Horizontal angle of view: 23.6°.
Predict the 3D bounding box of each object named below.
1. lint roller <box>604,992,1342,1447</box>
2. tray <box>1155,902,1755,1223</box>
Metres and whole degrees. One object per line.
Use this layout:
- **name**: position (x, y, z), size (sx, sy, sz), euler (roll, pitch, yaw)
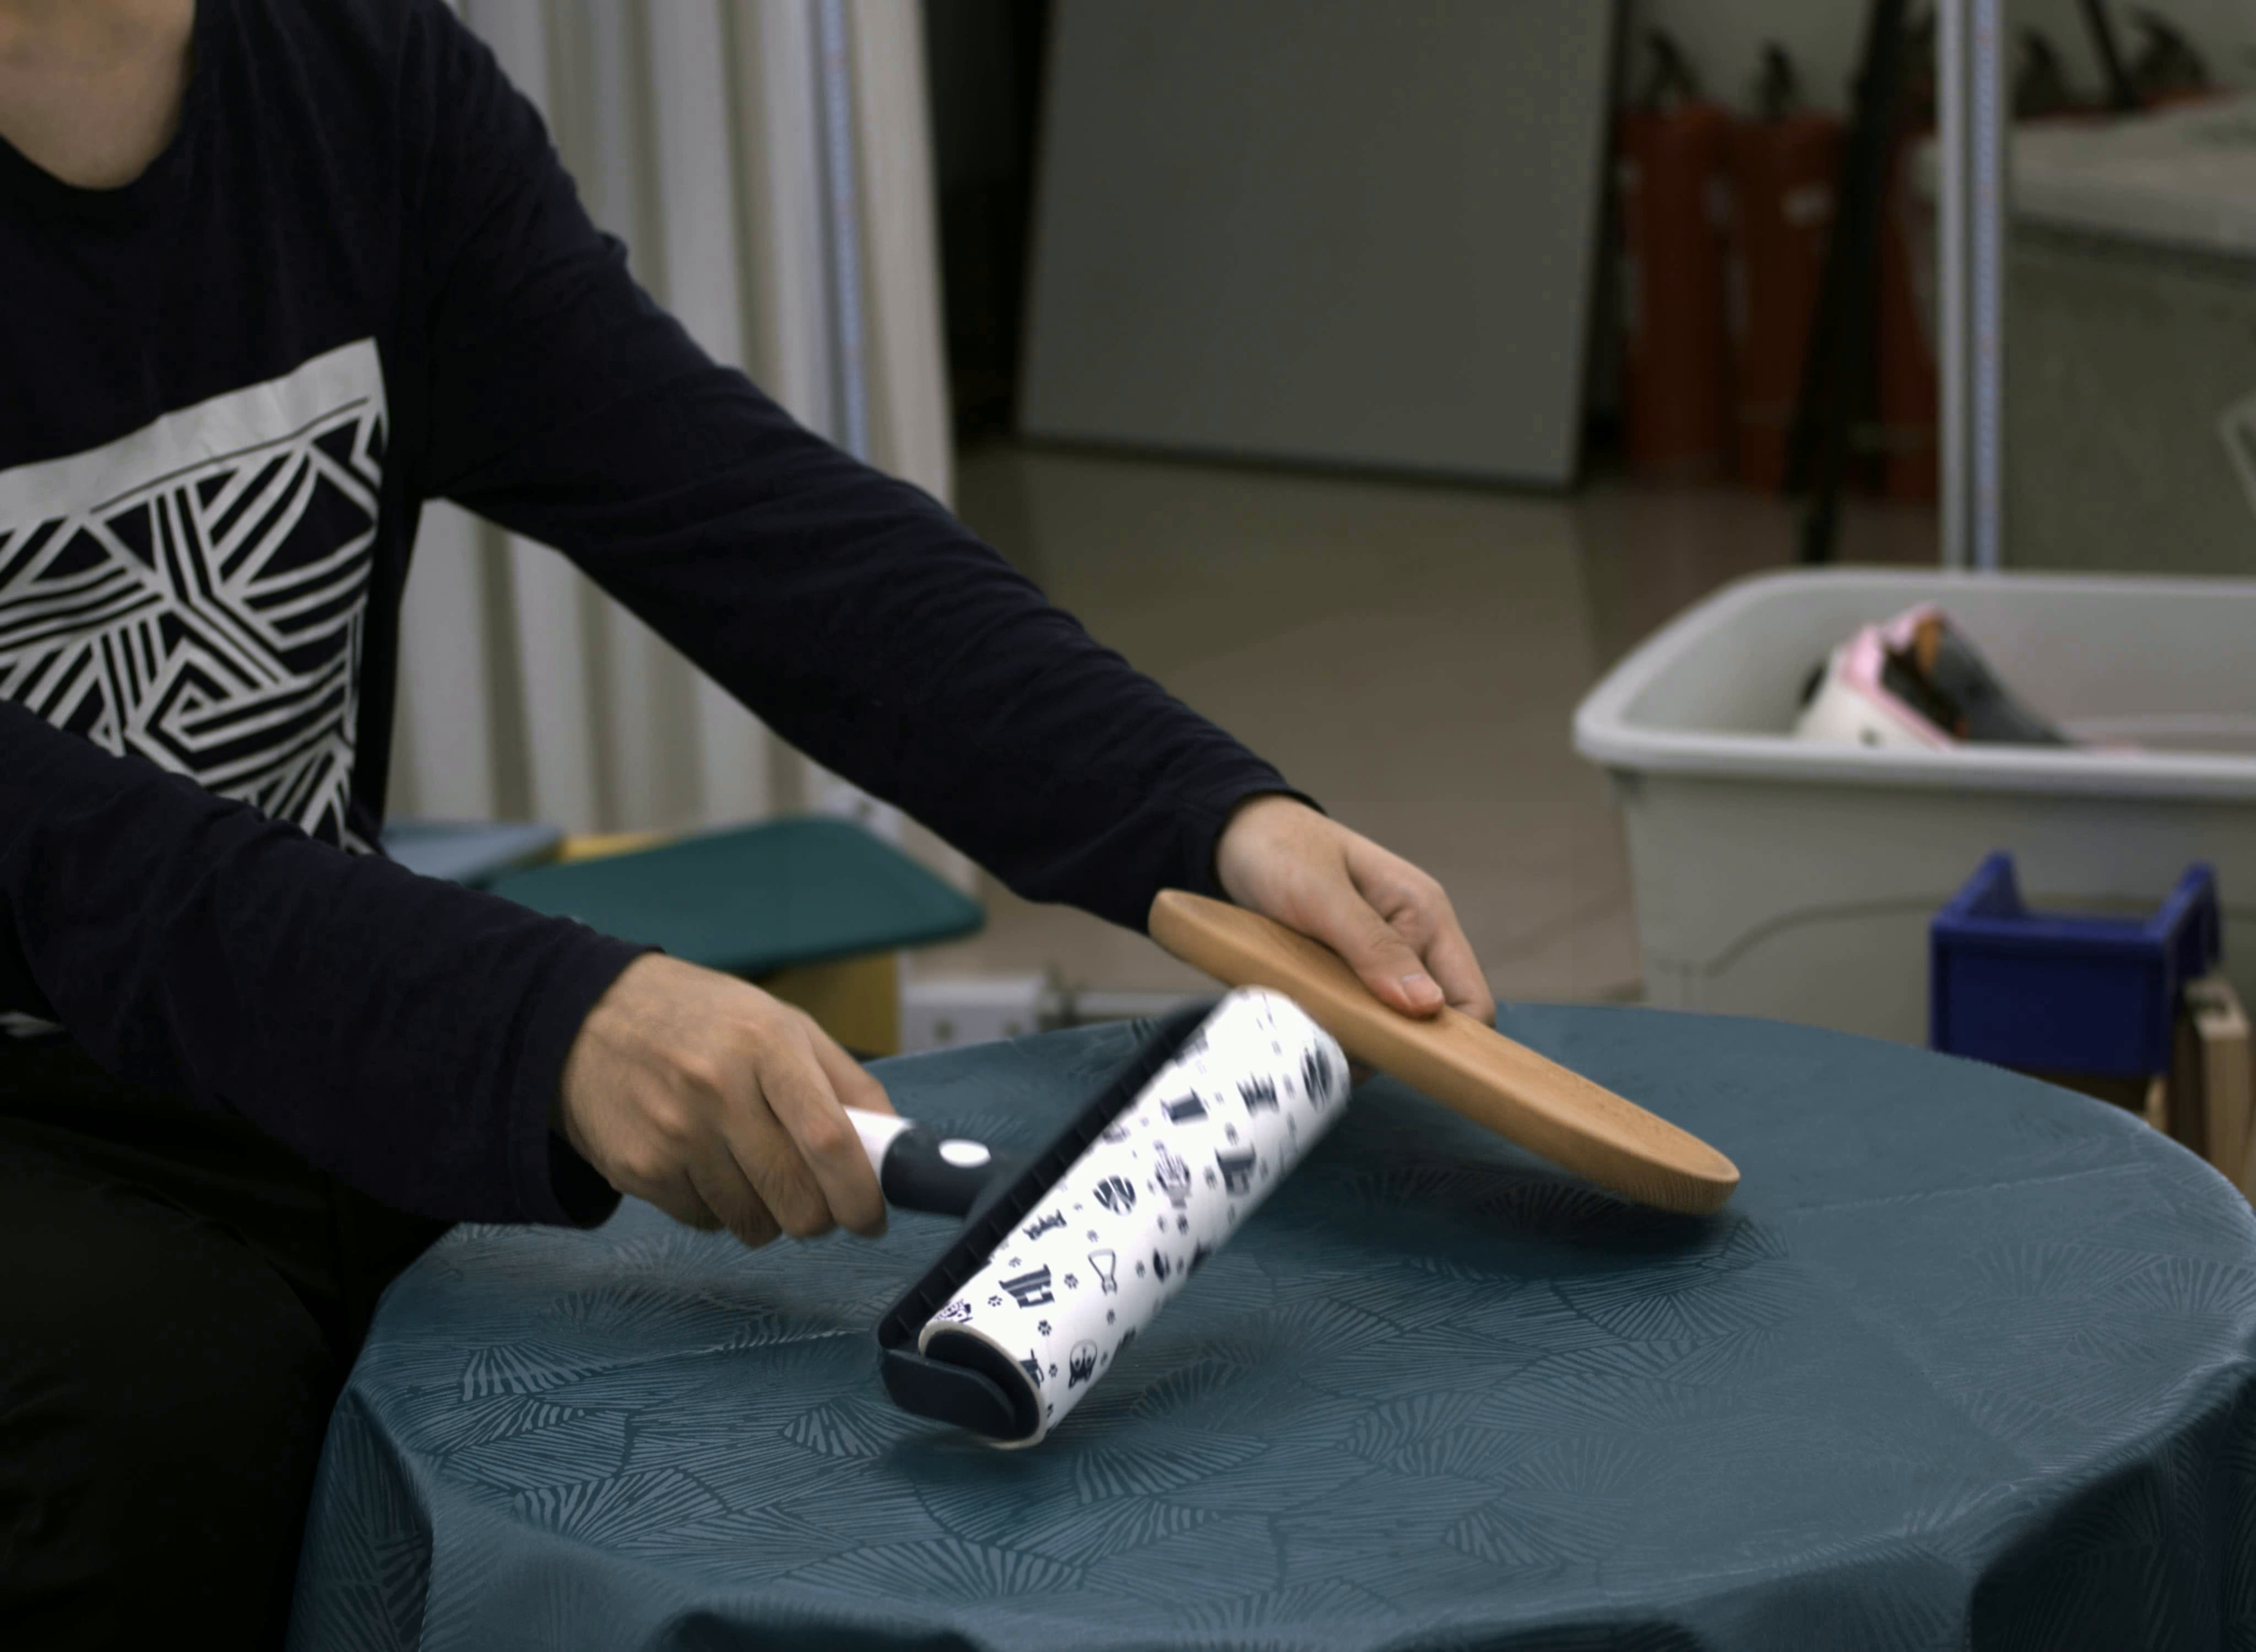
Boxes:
- **lint roller**: position (-0.074, 0.105, 1.644), size (0.249, 0.050, 0.174), euler (7, 39, 40)
- **tray**: position (0.103, 0.076, 1.740), size (0.233, 0.020, 0.099), euler (29, 11, 36)
